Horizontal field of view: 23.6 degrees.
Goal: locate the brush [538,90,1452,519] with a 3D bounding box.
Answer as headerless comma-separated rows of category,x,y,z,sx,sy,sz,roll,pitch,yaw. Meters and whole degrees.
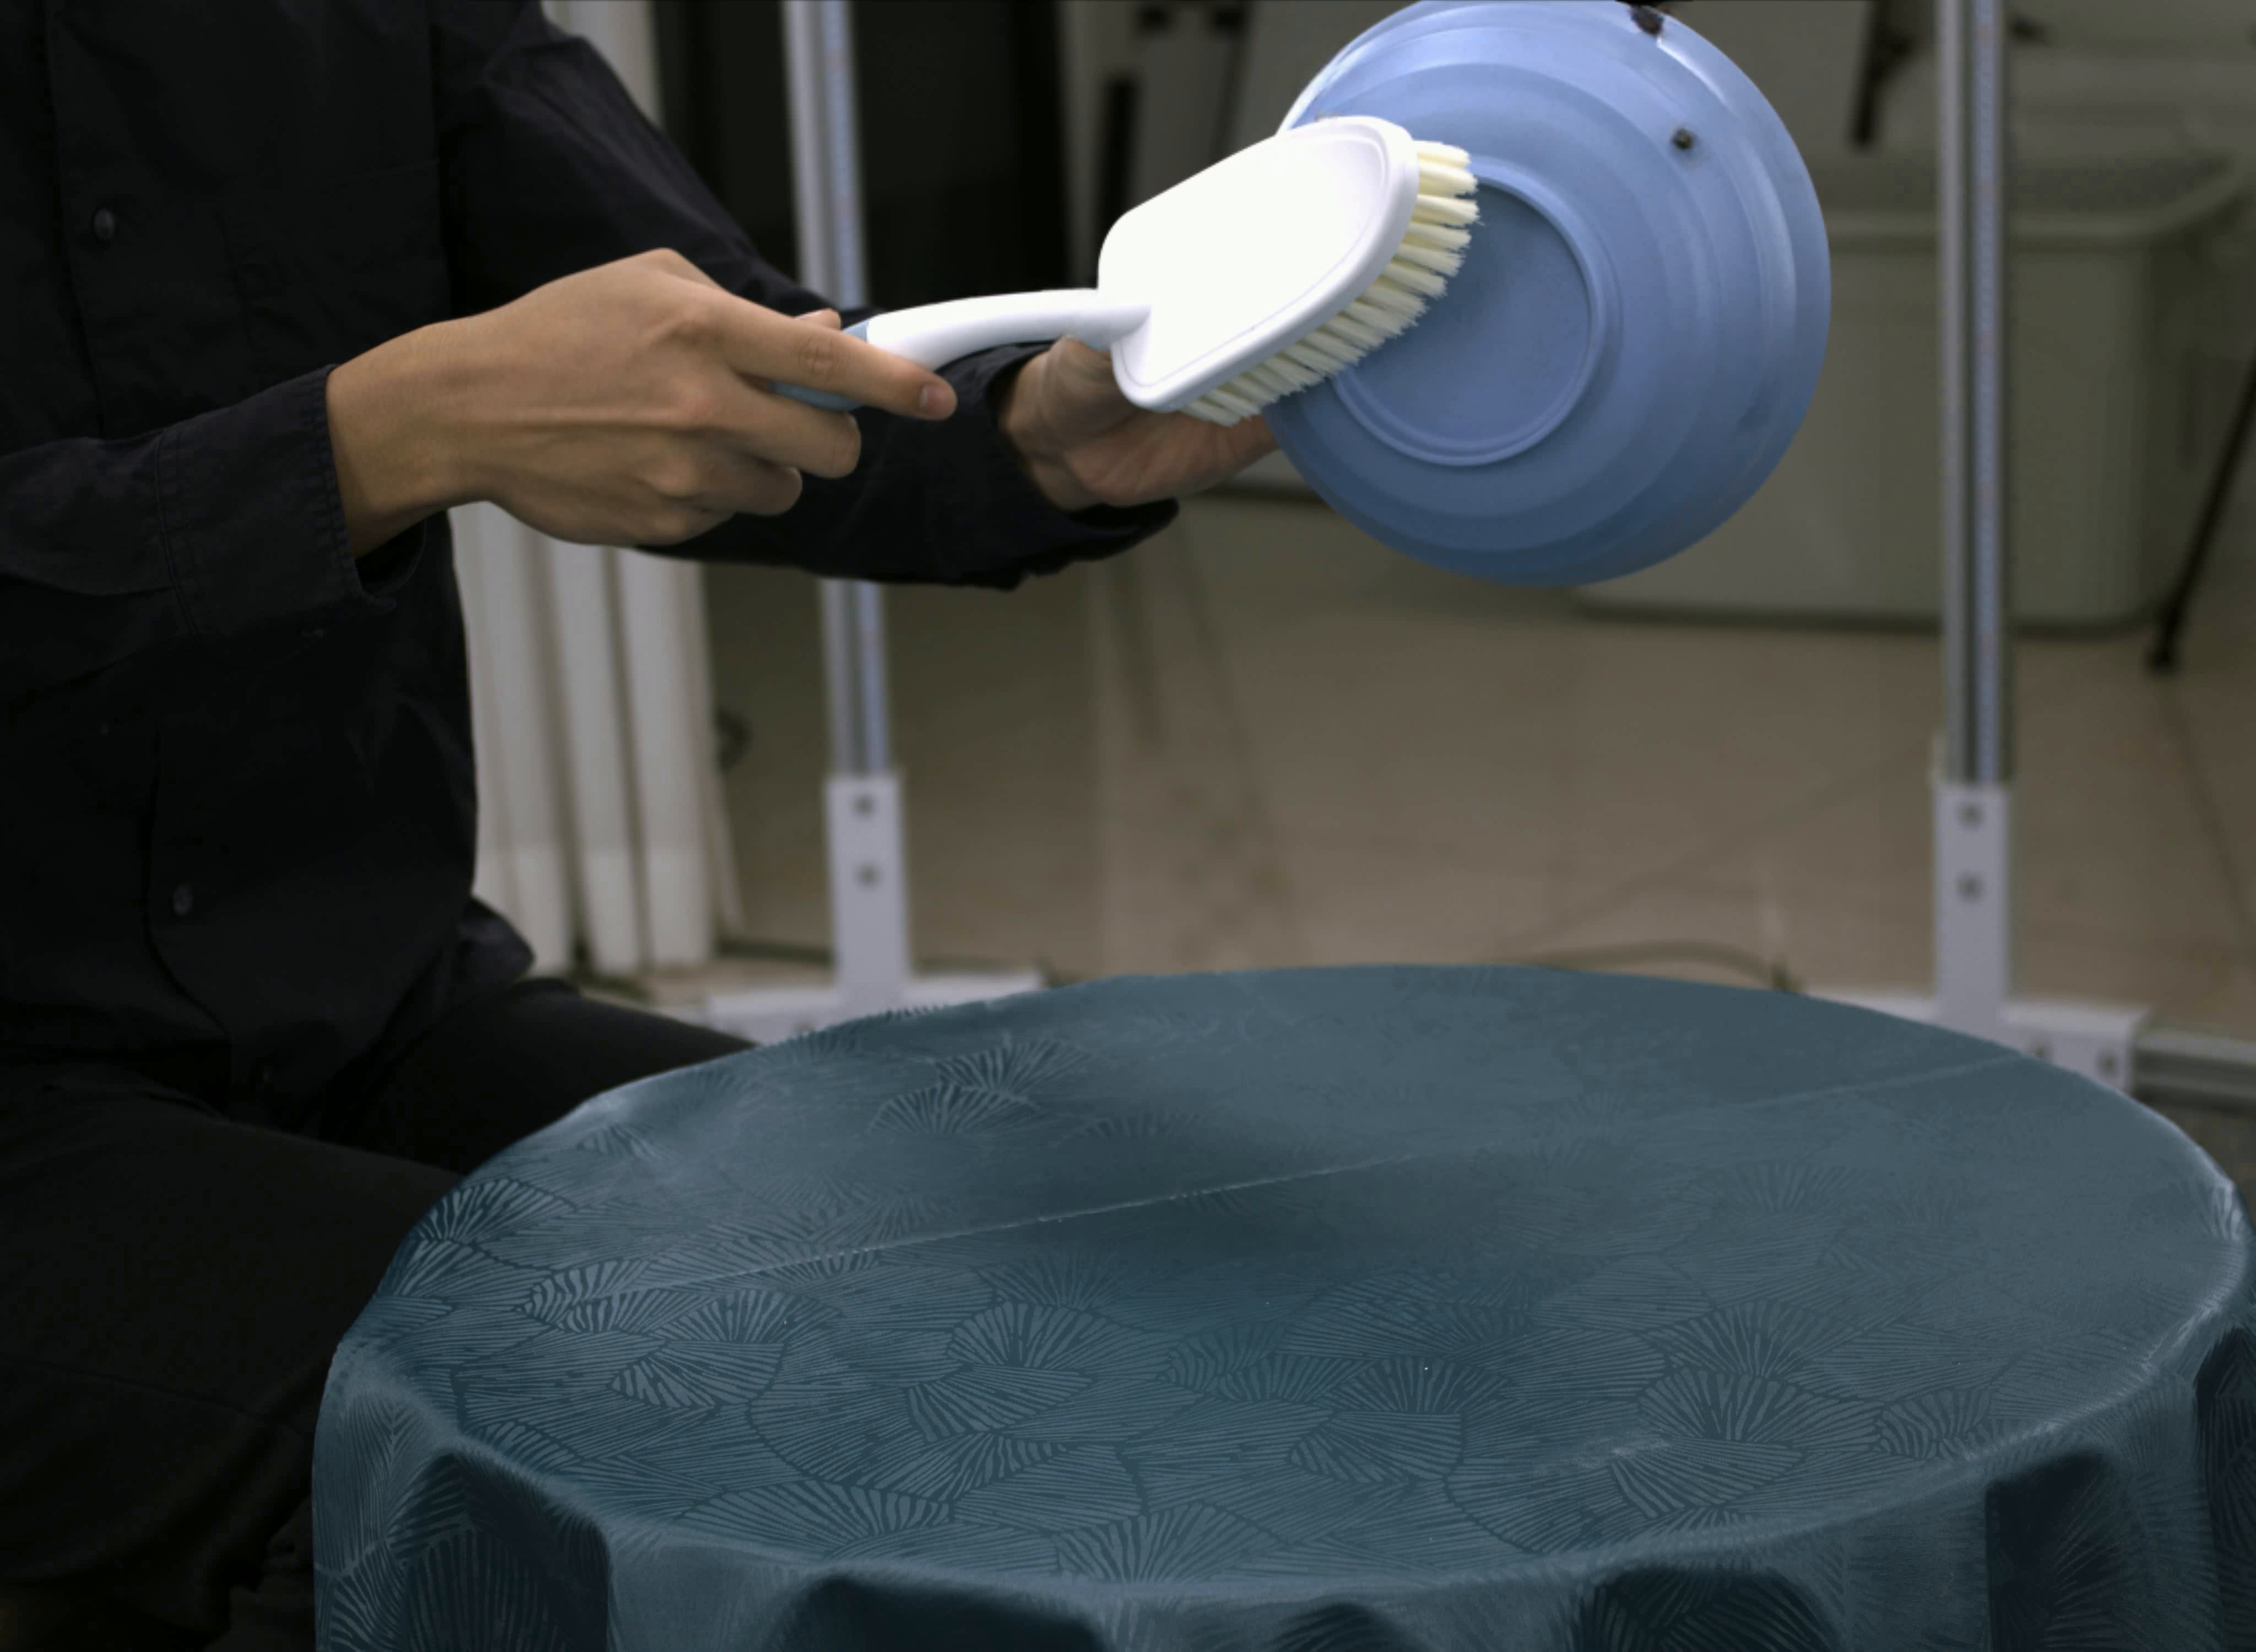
brush,-0.039,-0.154,1.694,0.326,0.084,0.083,-20,31,26

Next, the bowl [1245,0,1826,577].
bowl,0.113,-0.169,1.686,0.196,0.199,0.094,2,11,21
